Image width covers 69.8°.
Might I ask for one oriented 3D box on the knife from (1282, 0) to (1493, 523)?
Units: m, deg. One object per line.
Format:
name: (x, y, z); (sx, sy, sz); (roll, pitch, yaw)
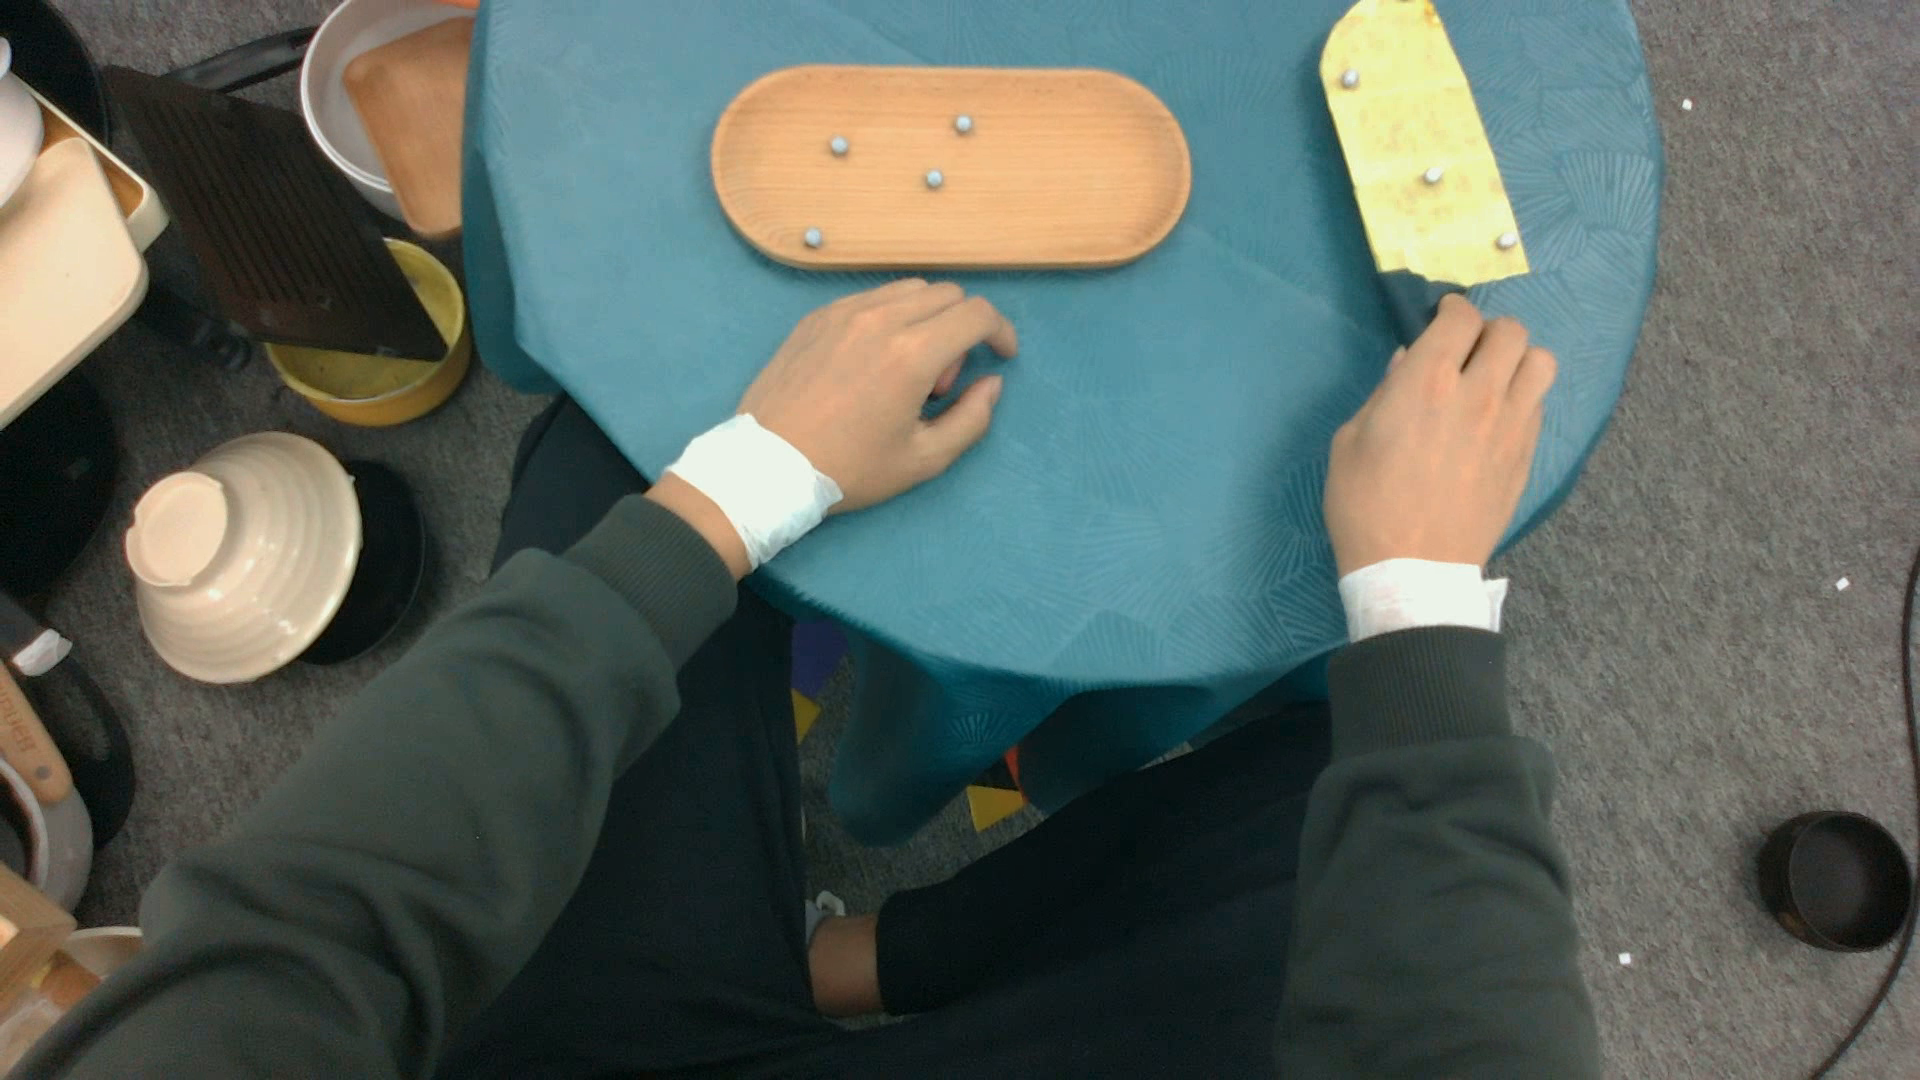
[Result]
knife: (0.222, -0.149, 0.684); (0.081, 0.027, 0.290); (-9, 76, -3)

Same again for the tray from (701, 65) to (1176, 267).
tray: (-0.008, -0.181, 0.669); (0.231, 0.020, 0.102); (-2, 79, -10)
